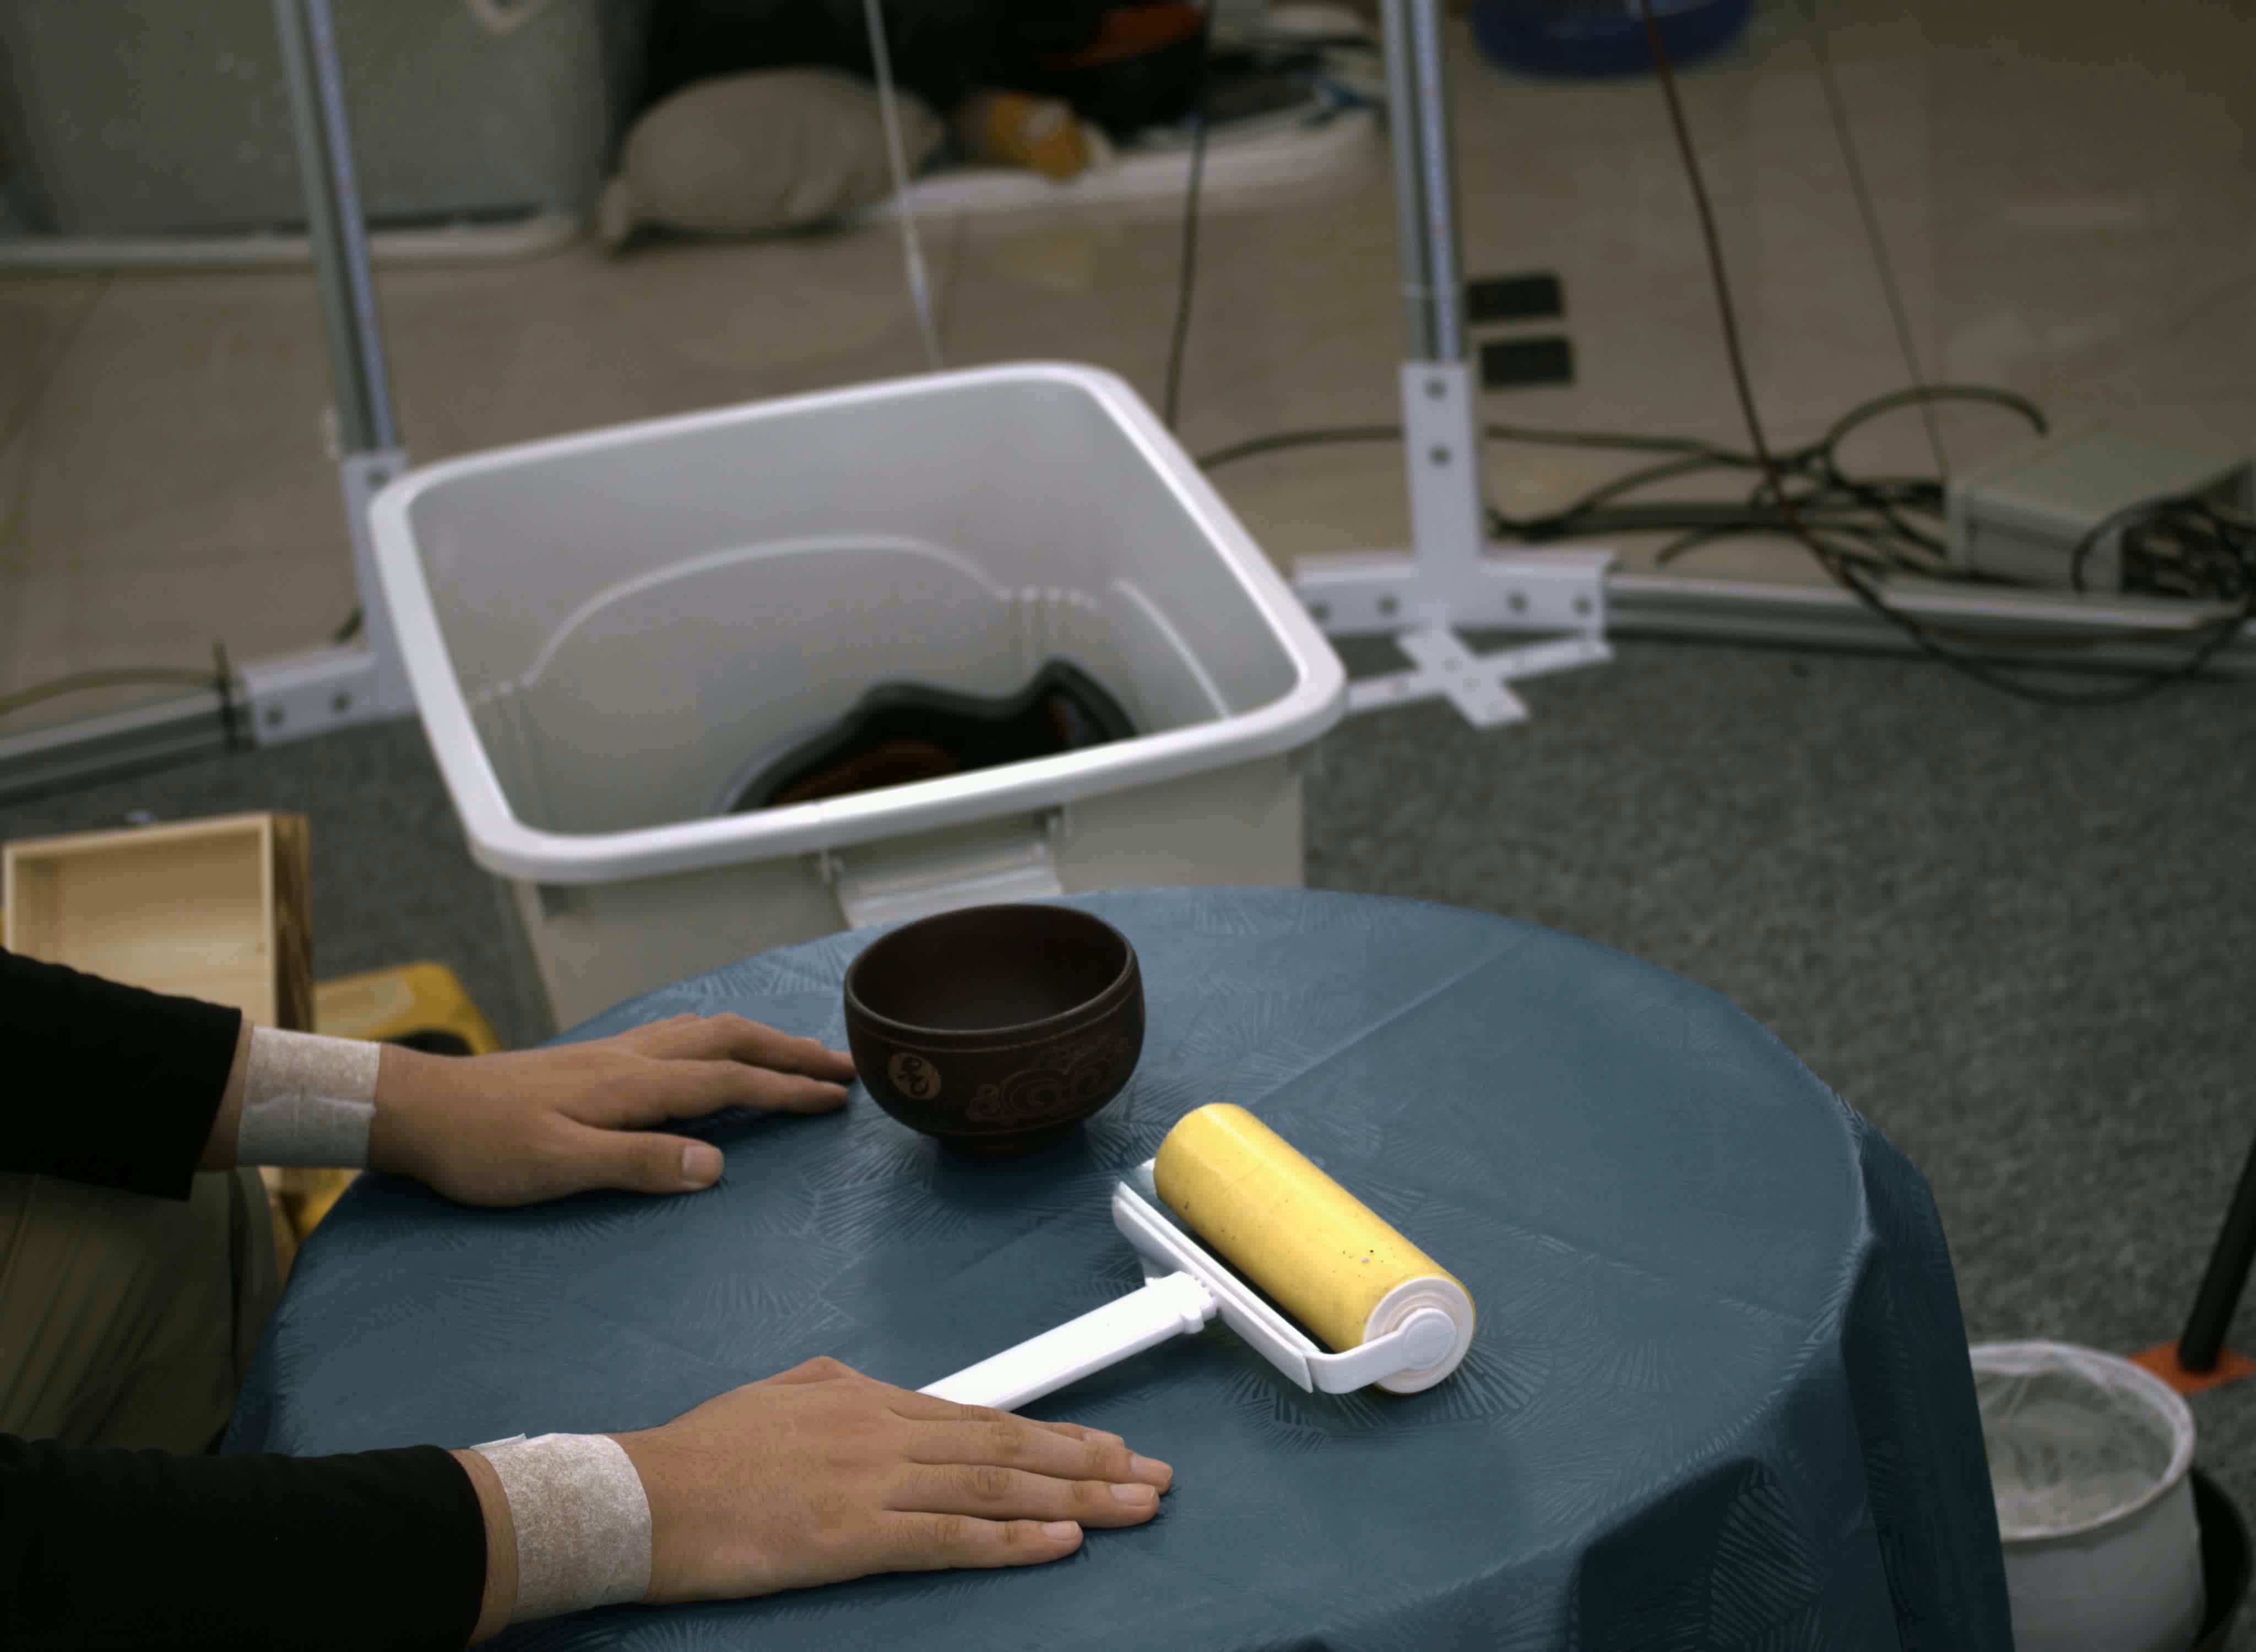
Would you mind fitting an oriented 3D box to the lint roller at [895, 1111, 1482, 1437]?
[{"bbox_3d":[0.004,0.169,2.019,0.191,0.052,0.172,-13,25,-25],"label":"lint roller"}]

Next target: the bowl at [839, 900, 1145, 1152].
[{"bbox_3d":[-0.051,0.083,2.191,0.118,0.071,0.116,-5,24,2],"label":"bowl"}]
